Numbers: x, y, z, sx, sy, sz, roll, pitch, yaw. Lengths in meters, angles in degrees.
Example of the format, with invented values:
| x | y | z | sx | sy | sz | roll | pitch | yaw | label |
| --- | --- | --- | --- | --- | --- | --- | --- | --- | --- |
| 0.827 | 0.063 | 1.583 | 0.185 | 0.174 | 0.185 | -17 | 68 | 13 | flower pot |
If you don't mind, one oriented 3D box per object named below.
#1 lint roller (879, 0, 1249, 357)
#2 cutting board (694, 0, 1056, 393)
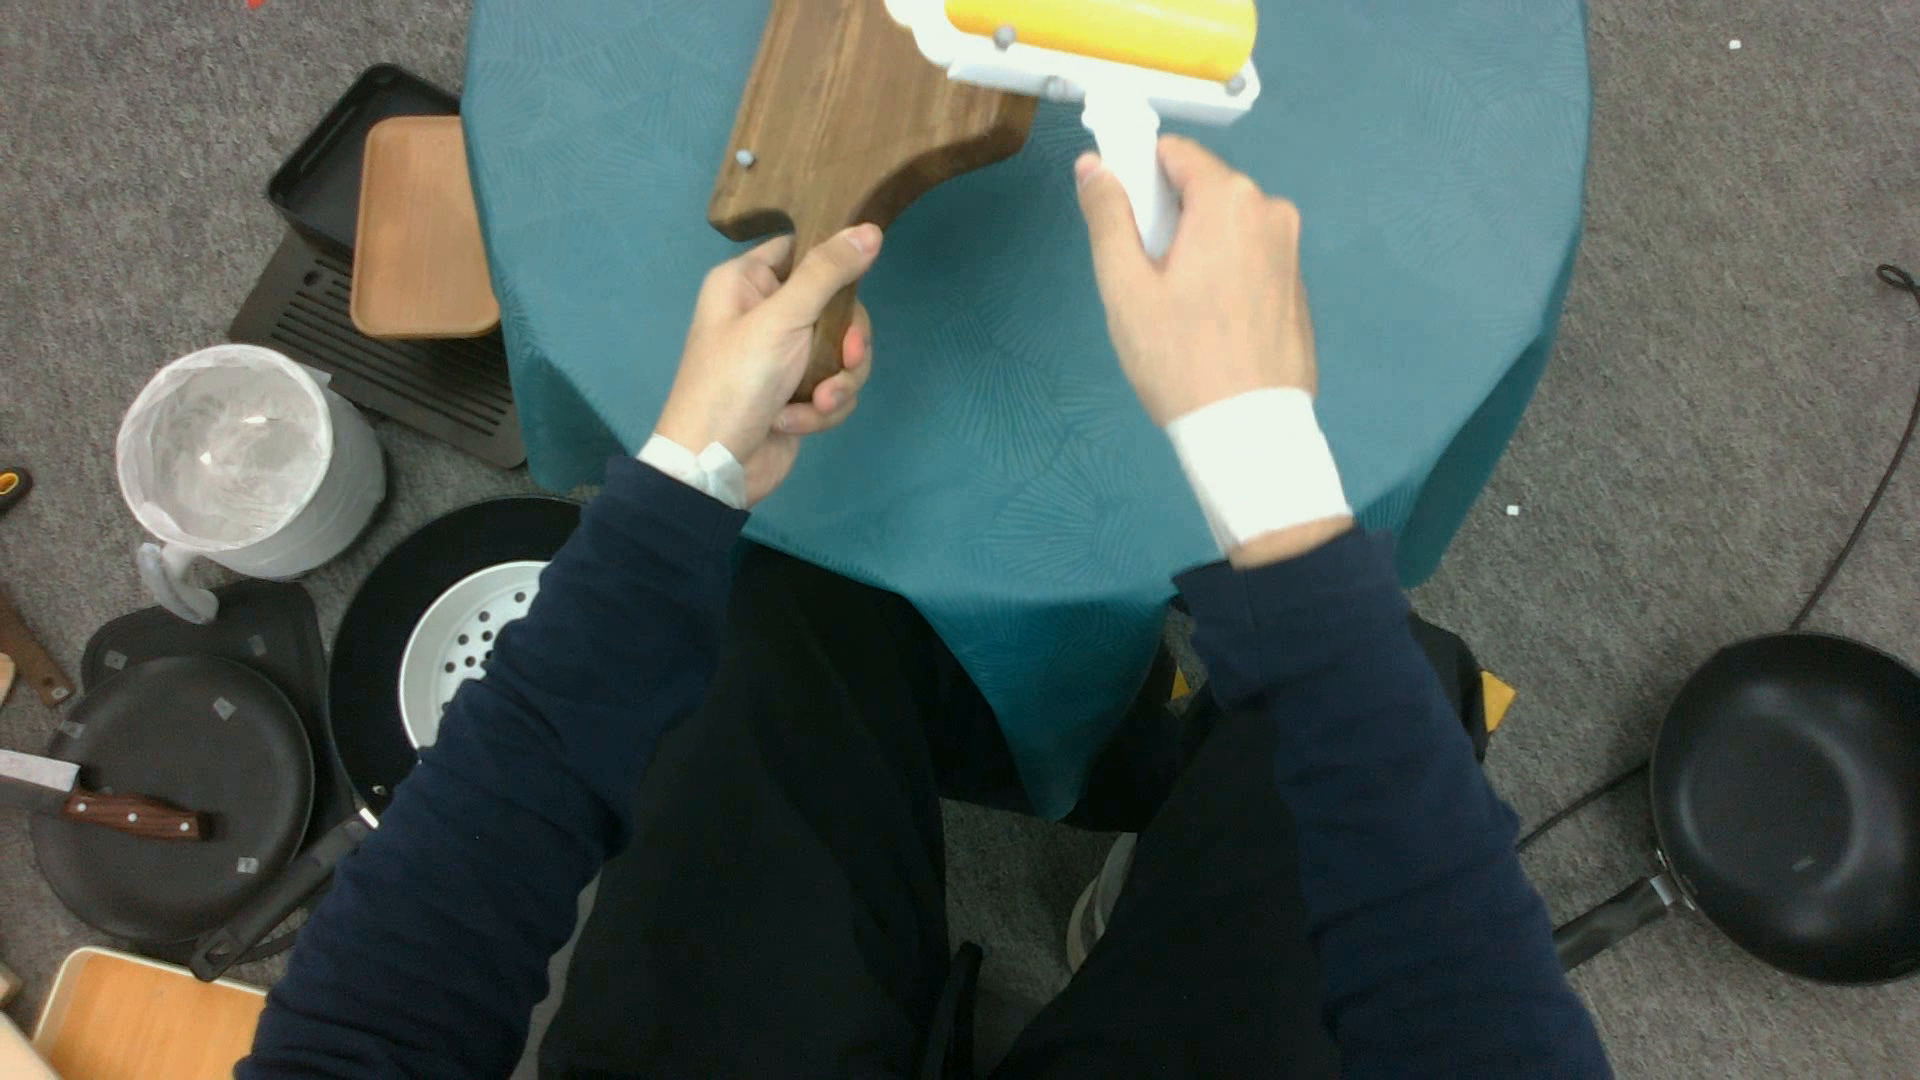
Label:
| x | y | z | sx | sy | sz | roll | pitch | yaw | label |
| --- | --- | --- | --- | --- | --- | --- | --- | --- | --- |
| 0.068 | -0.163 | 0.529 | 0.175 | 0.051 | 0.192 | -8 | 66 | -37 | lint roller |
| -0.038 | -0.228 | 0.641 | 0.200 | 0.023 | 0.353 | -4 | 64 | 41 | cutting board |
